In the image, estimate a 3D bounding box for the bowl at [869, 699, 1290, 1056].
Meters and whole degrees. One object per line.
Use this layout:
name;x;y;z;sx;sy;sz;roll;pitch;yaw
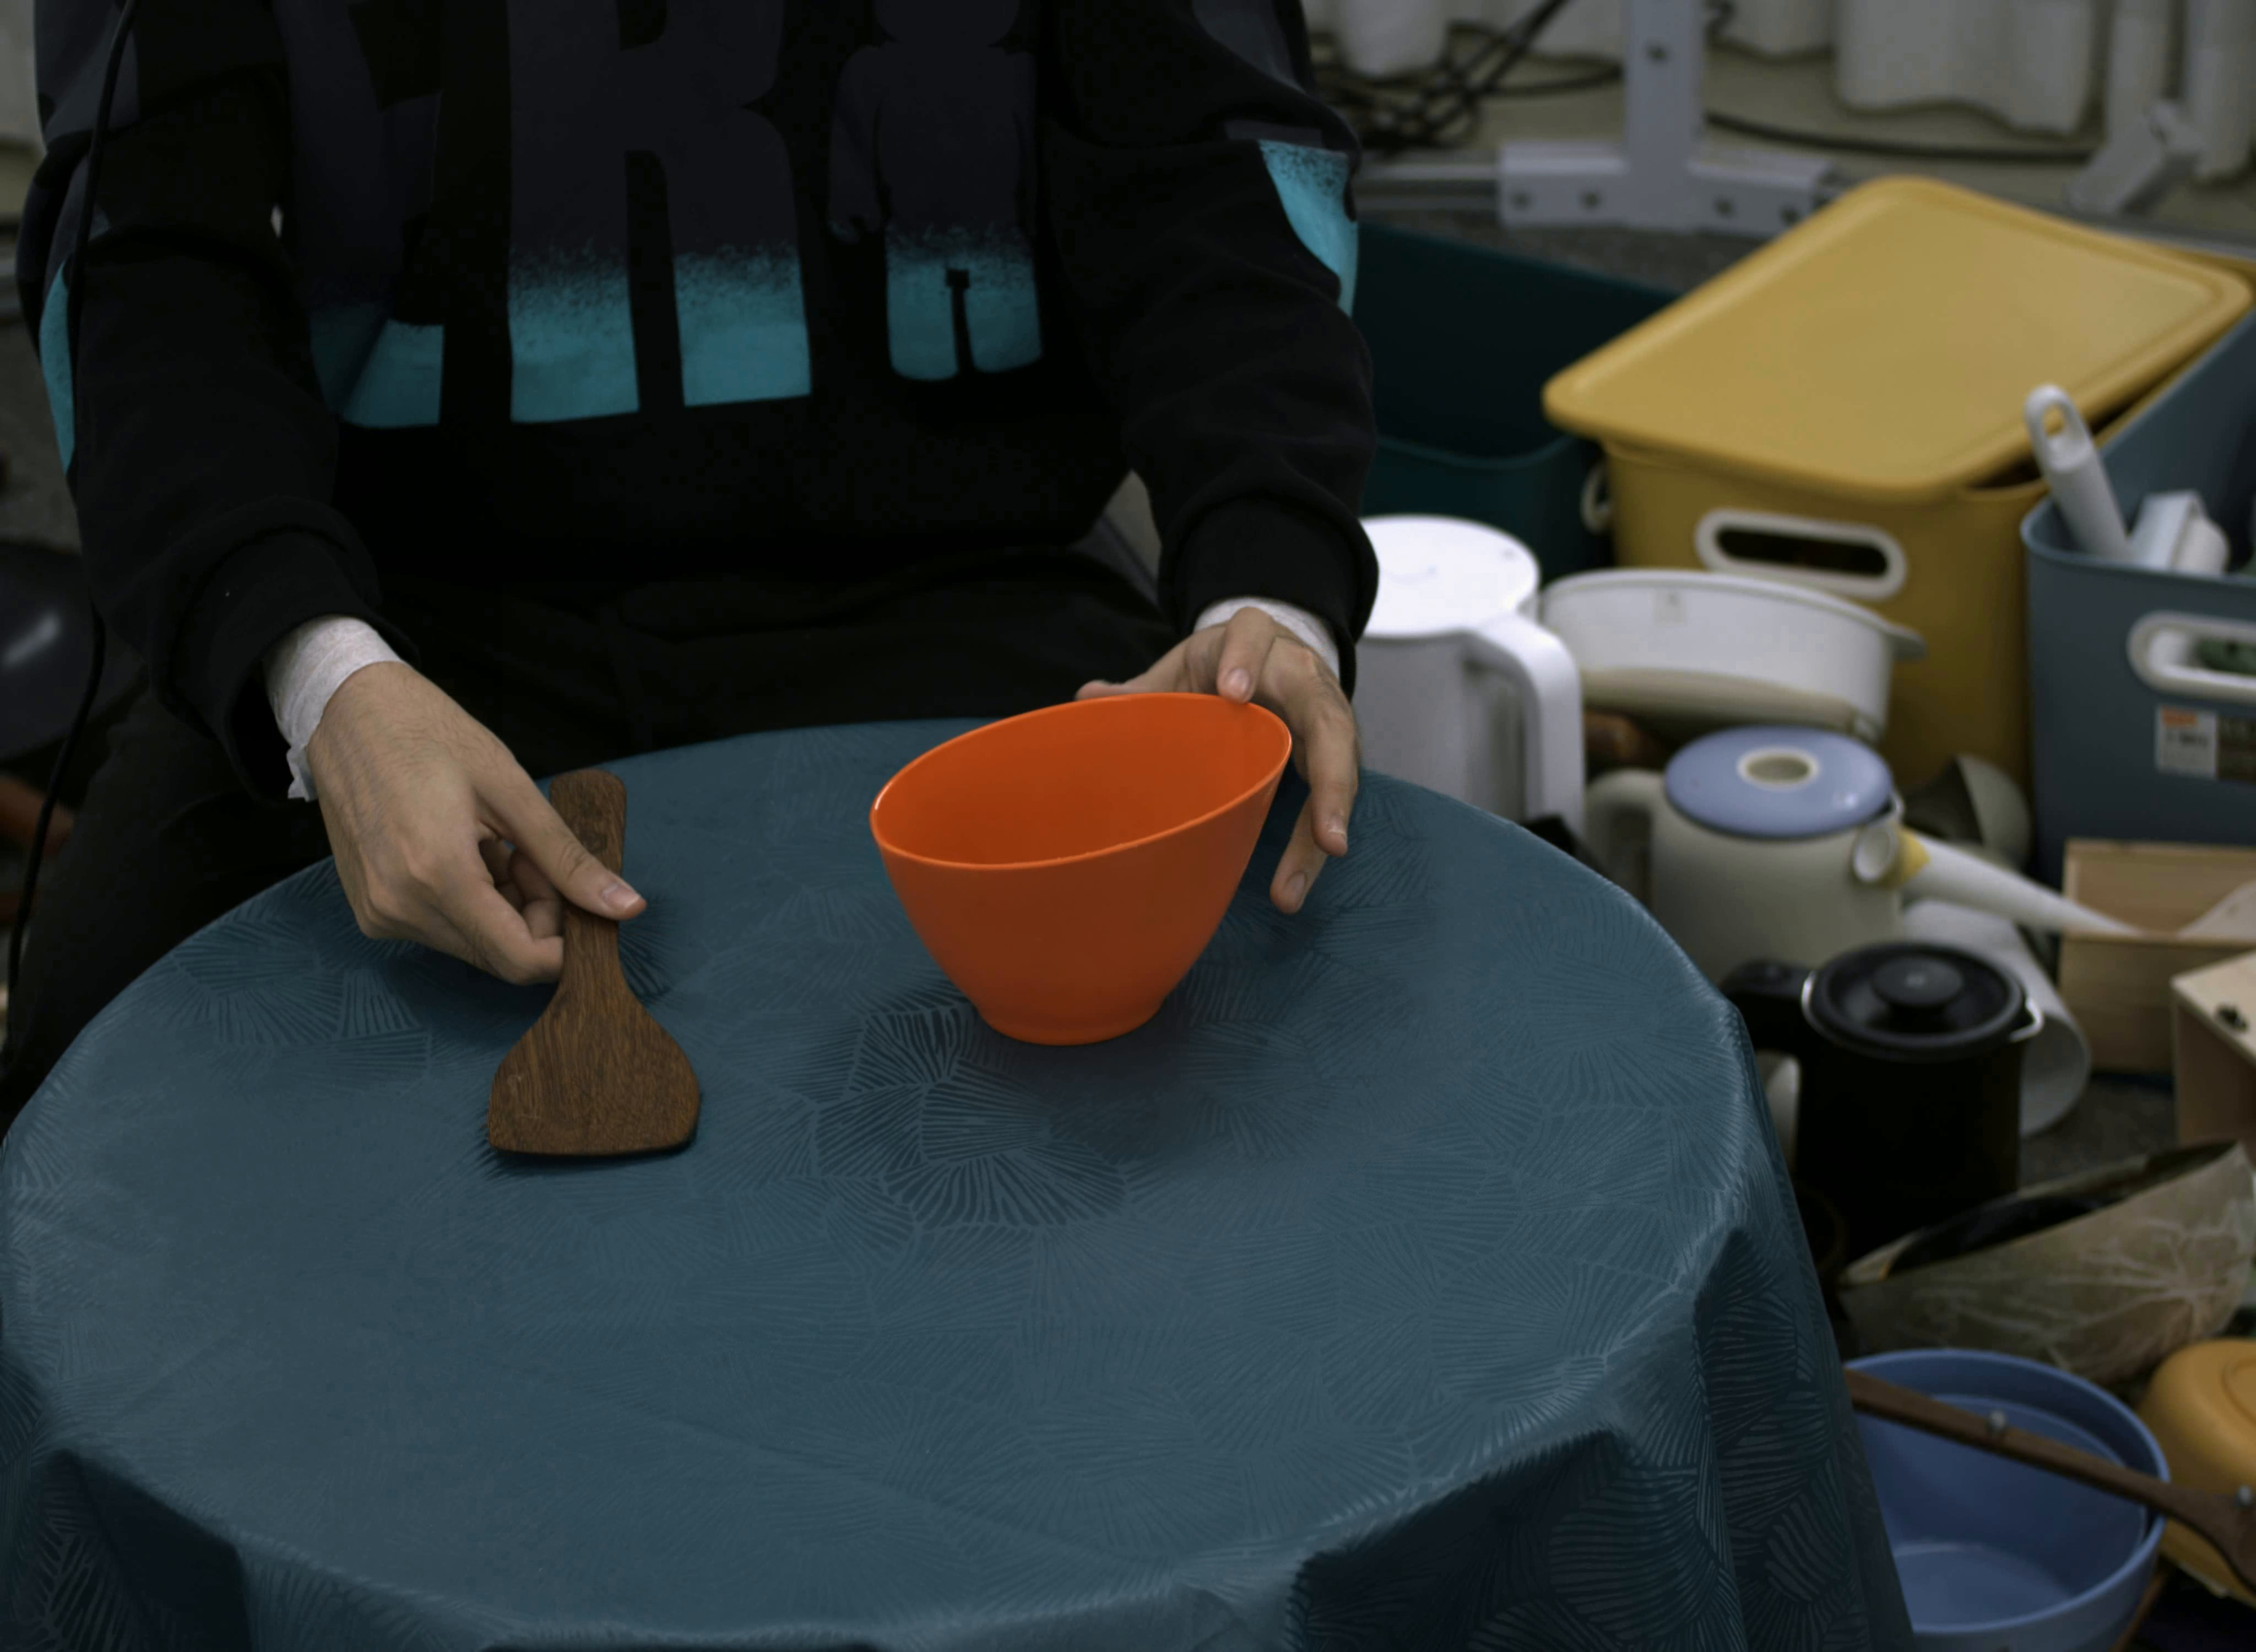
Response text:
bowl;-0.014;0.022;1.950;0.147;0.103;0.150;-4;26;2

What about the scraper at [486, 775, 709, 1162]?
scraper;-0.187;0.049;1.974;0.075;0.010;0.215;-1;38;-5
